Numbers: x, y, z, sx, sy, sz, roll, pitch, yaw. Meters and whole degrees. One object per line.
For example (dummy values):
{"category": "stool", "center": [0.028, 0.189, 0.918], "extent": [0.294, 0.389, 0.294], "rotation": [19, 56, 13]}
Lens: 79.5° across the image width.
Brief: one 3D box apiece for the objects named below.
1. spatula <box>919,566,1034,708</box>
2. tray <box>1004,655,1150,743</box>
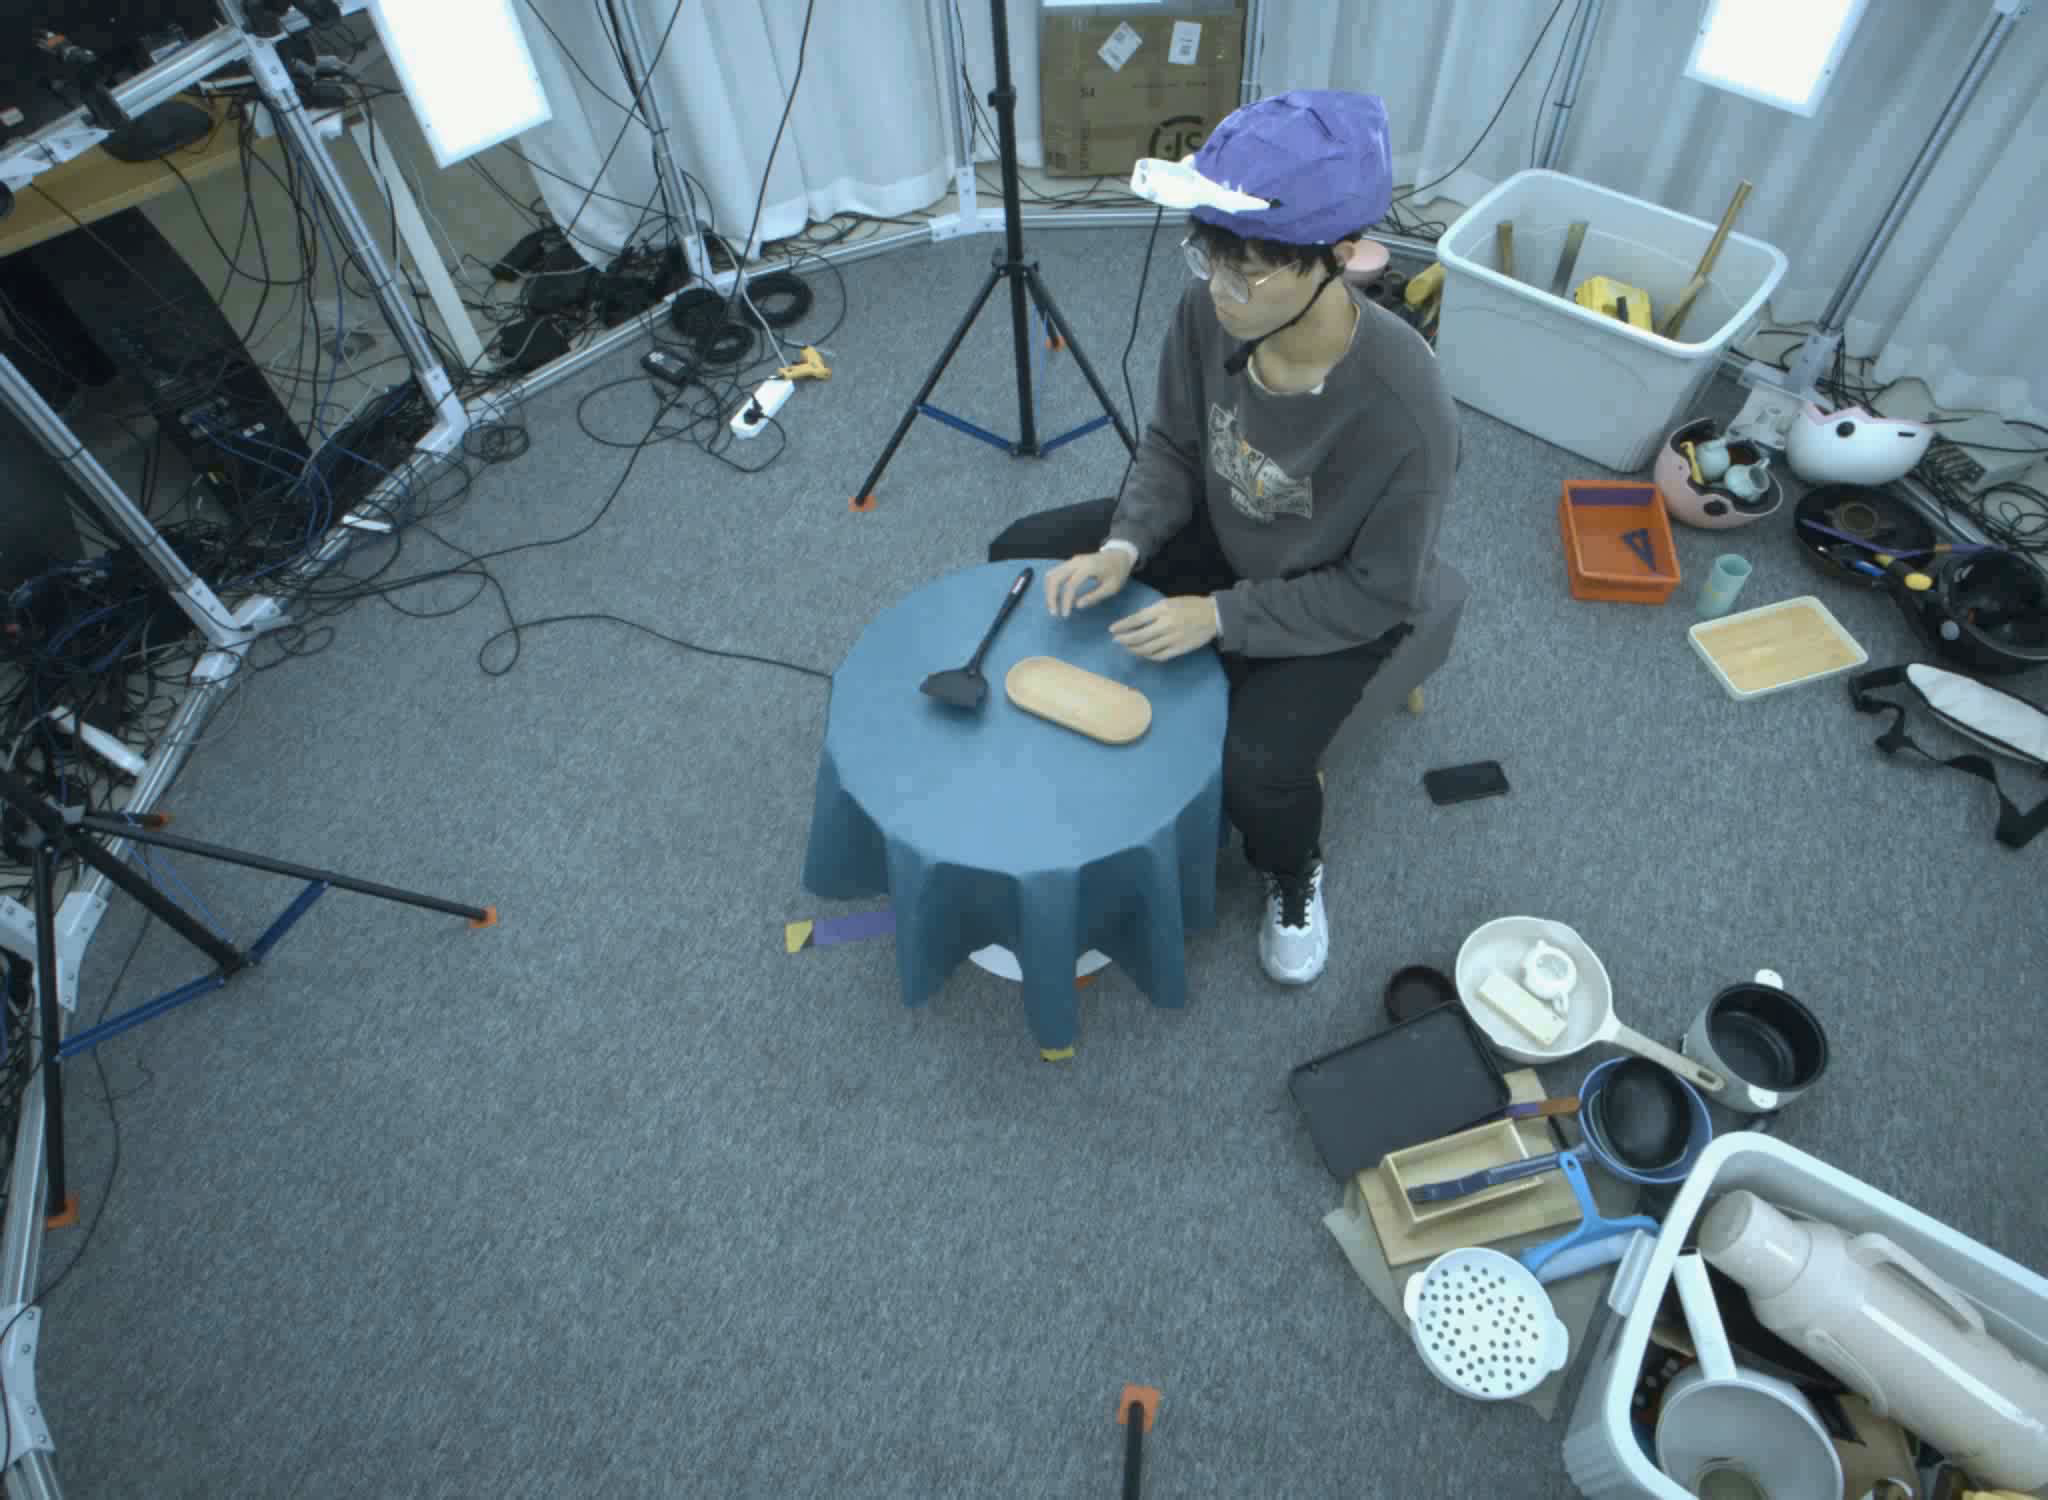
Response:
{"category": "spatula", "center": [-0.053, -0.183, 1.896], "extent": [0.099, 0.041, 0.326], "rotation": [18, 57, 14]}
{"category": "tray", "center": [0.077, -0.075, 1.827], "extent": [0.228, 0.020, 0.102], "rotation": [22, 58, 18]}
